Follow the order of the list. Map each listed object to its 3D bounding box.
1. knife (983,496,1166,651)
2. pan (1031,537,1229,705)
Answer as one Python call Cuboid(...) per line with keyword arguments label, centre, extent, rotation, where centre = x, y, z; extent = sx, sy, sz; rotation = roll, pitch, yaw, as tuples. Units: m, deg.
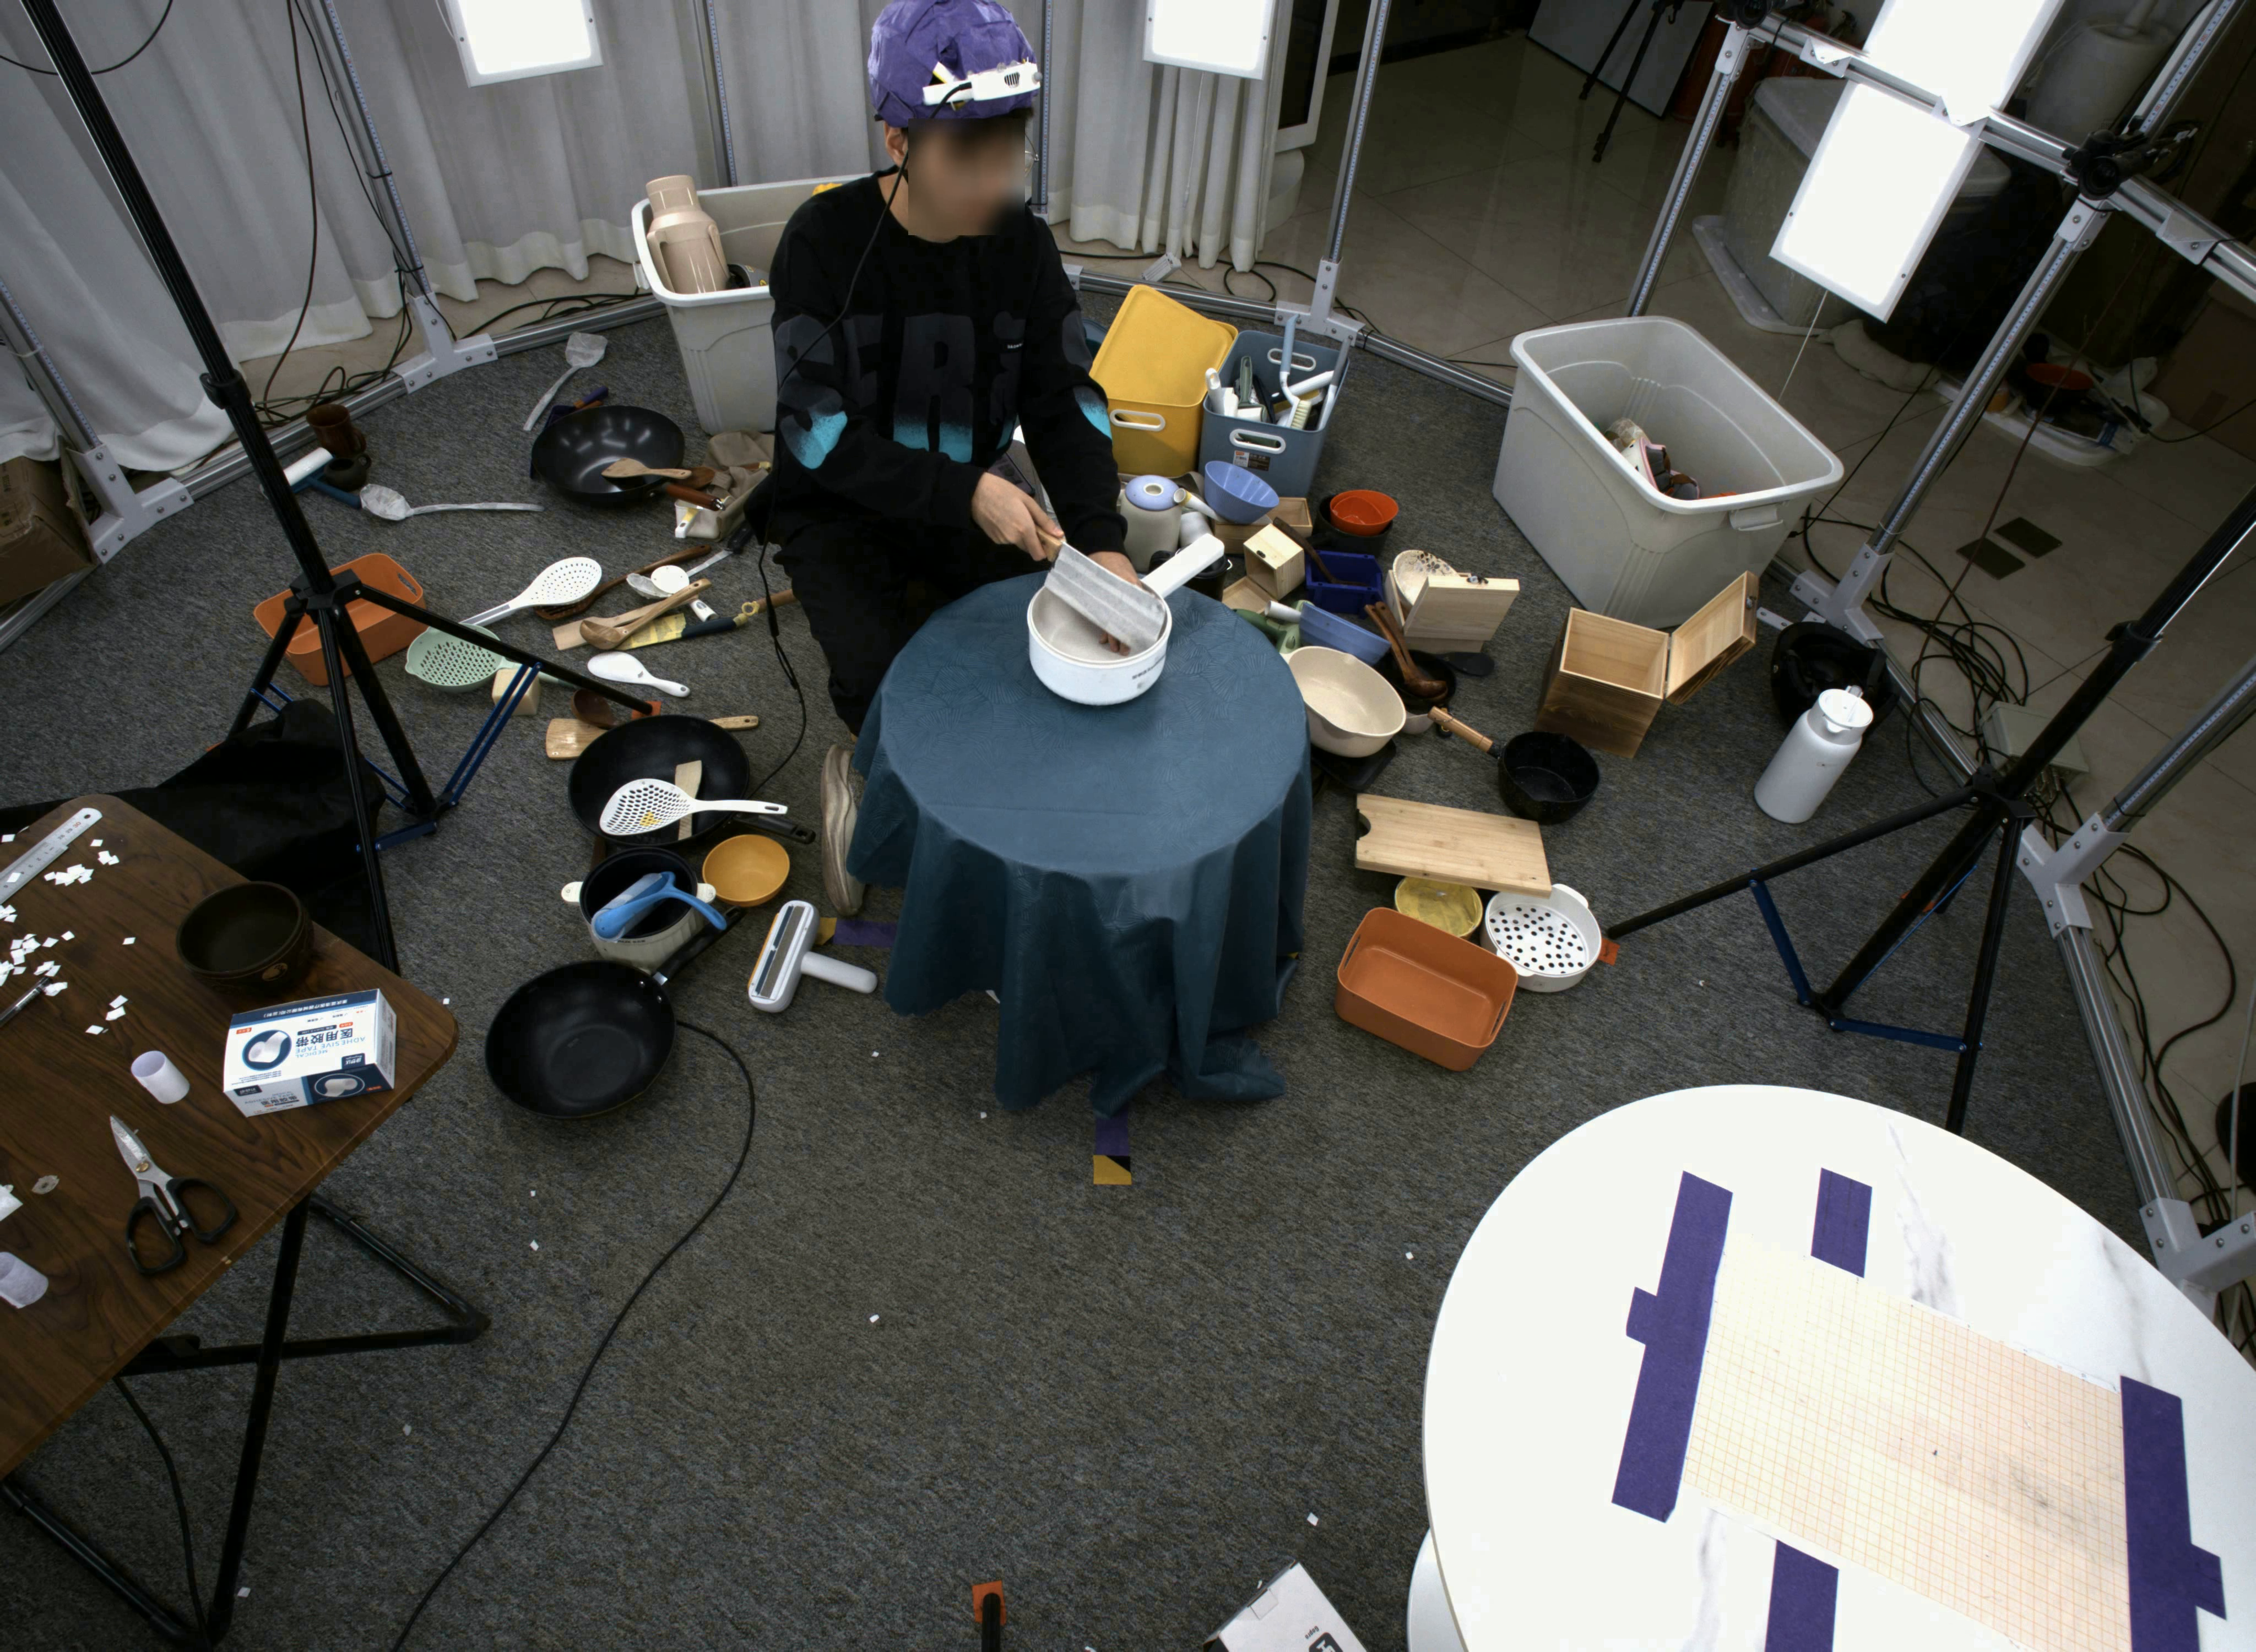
Cuboid(label="knife", centre=(-0.074, -0.351, 1.775), extent=(0.317, 0.112, 0.022), rotation=(39, 48, 7))
Cuboid(label="pan", centre=(0.014, -0.304, 1.871), extent=(0.204, 0.099, 0.358), rotation=(35, 55, 25))
